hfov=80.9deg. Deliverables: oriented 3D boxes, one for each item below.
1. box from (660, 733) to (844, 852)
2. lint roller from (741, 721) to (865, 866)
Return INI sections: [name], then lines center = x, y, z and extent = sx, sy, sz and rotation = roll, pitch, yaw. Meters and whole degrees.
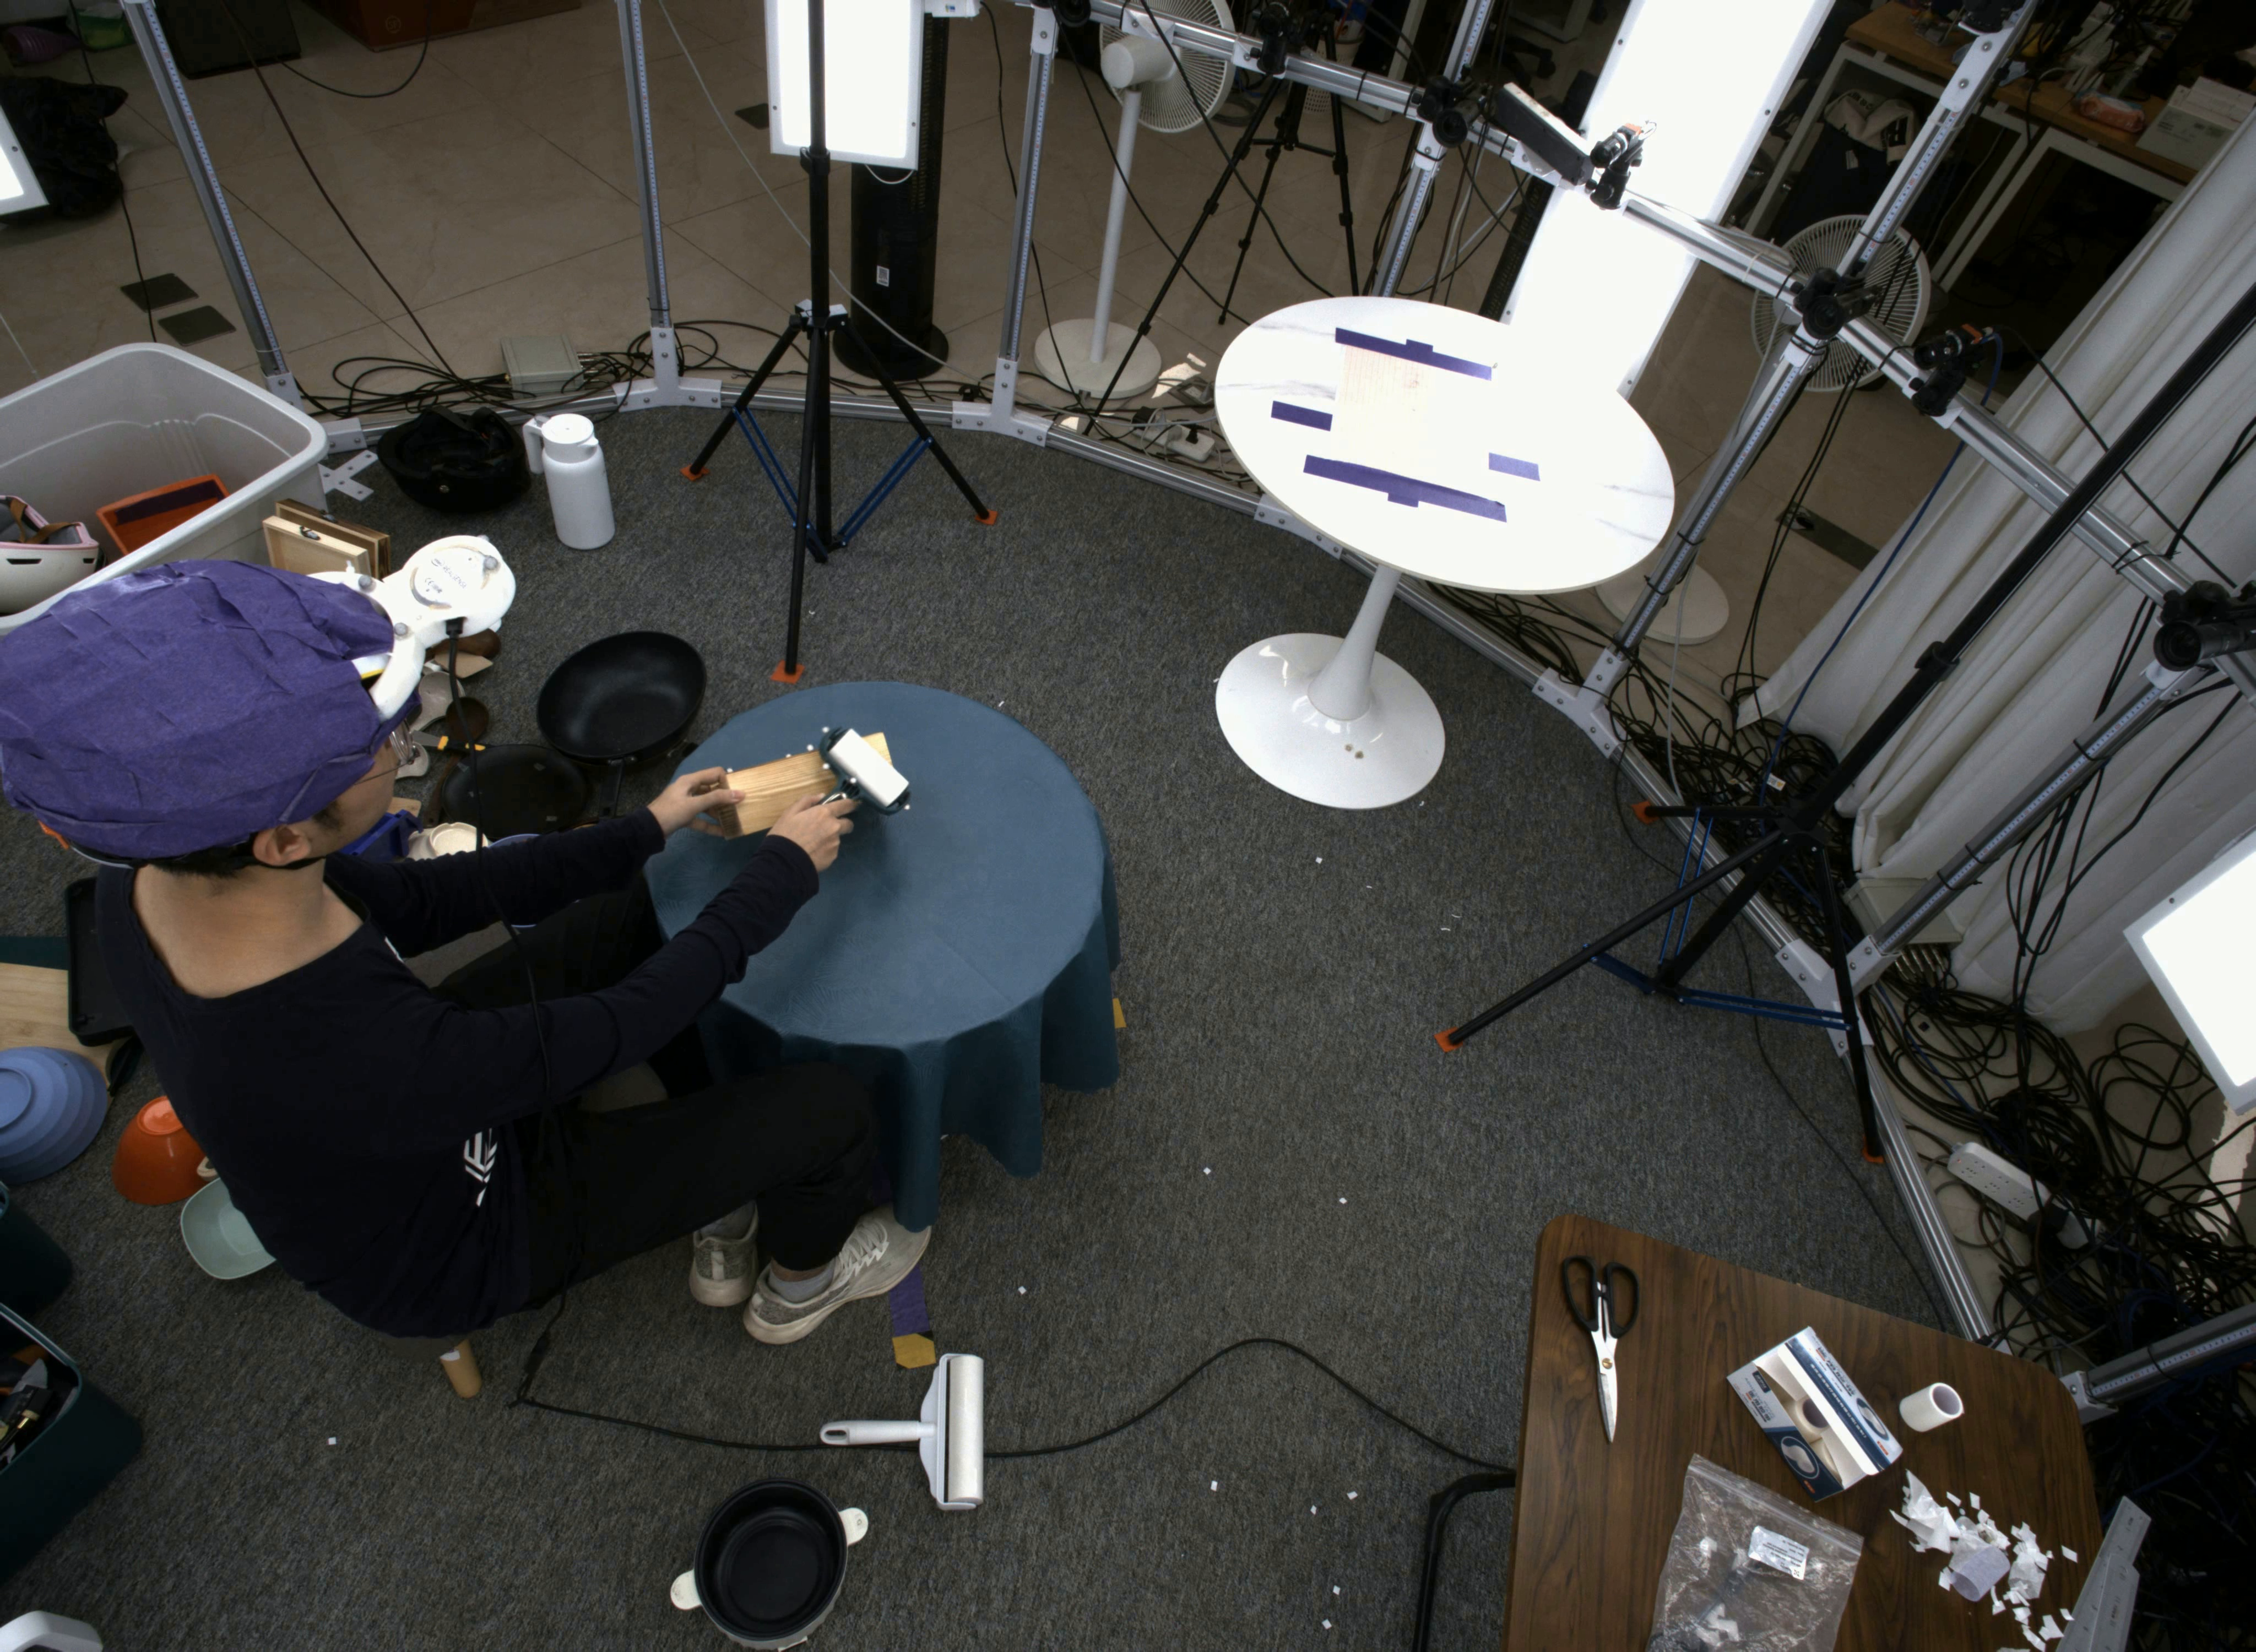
[box]
center = -0.479, -0.044, 1.661
extent = 0.213, 0.105, 0.081
rotation = -23, 97, -31
[lint roller]
center = -0.411, -0.026, 1.579
extent = 0.137, 0.047, 0.178
rotation = 44, 46, -18
